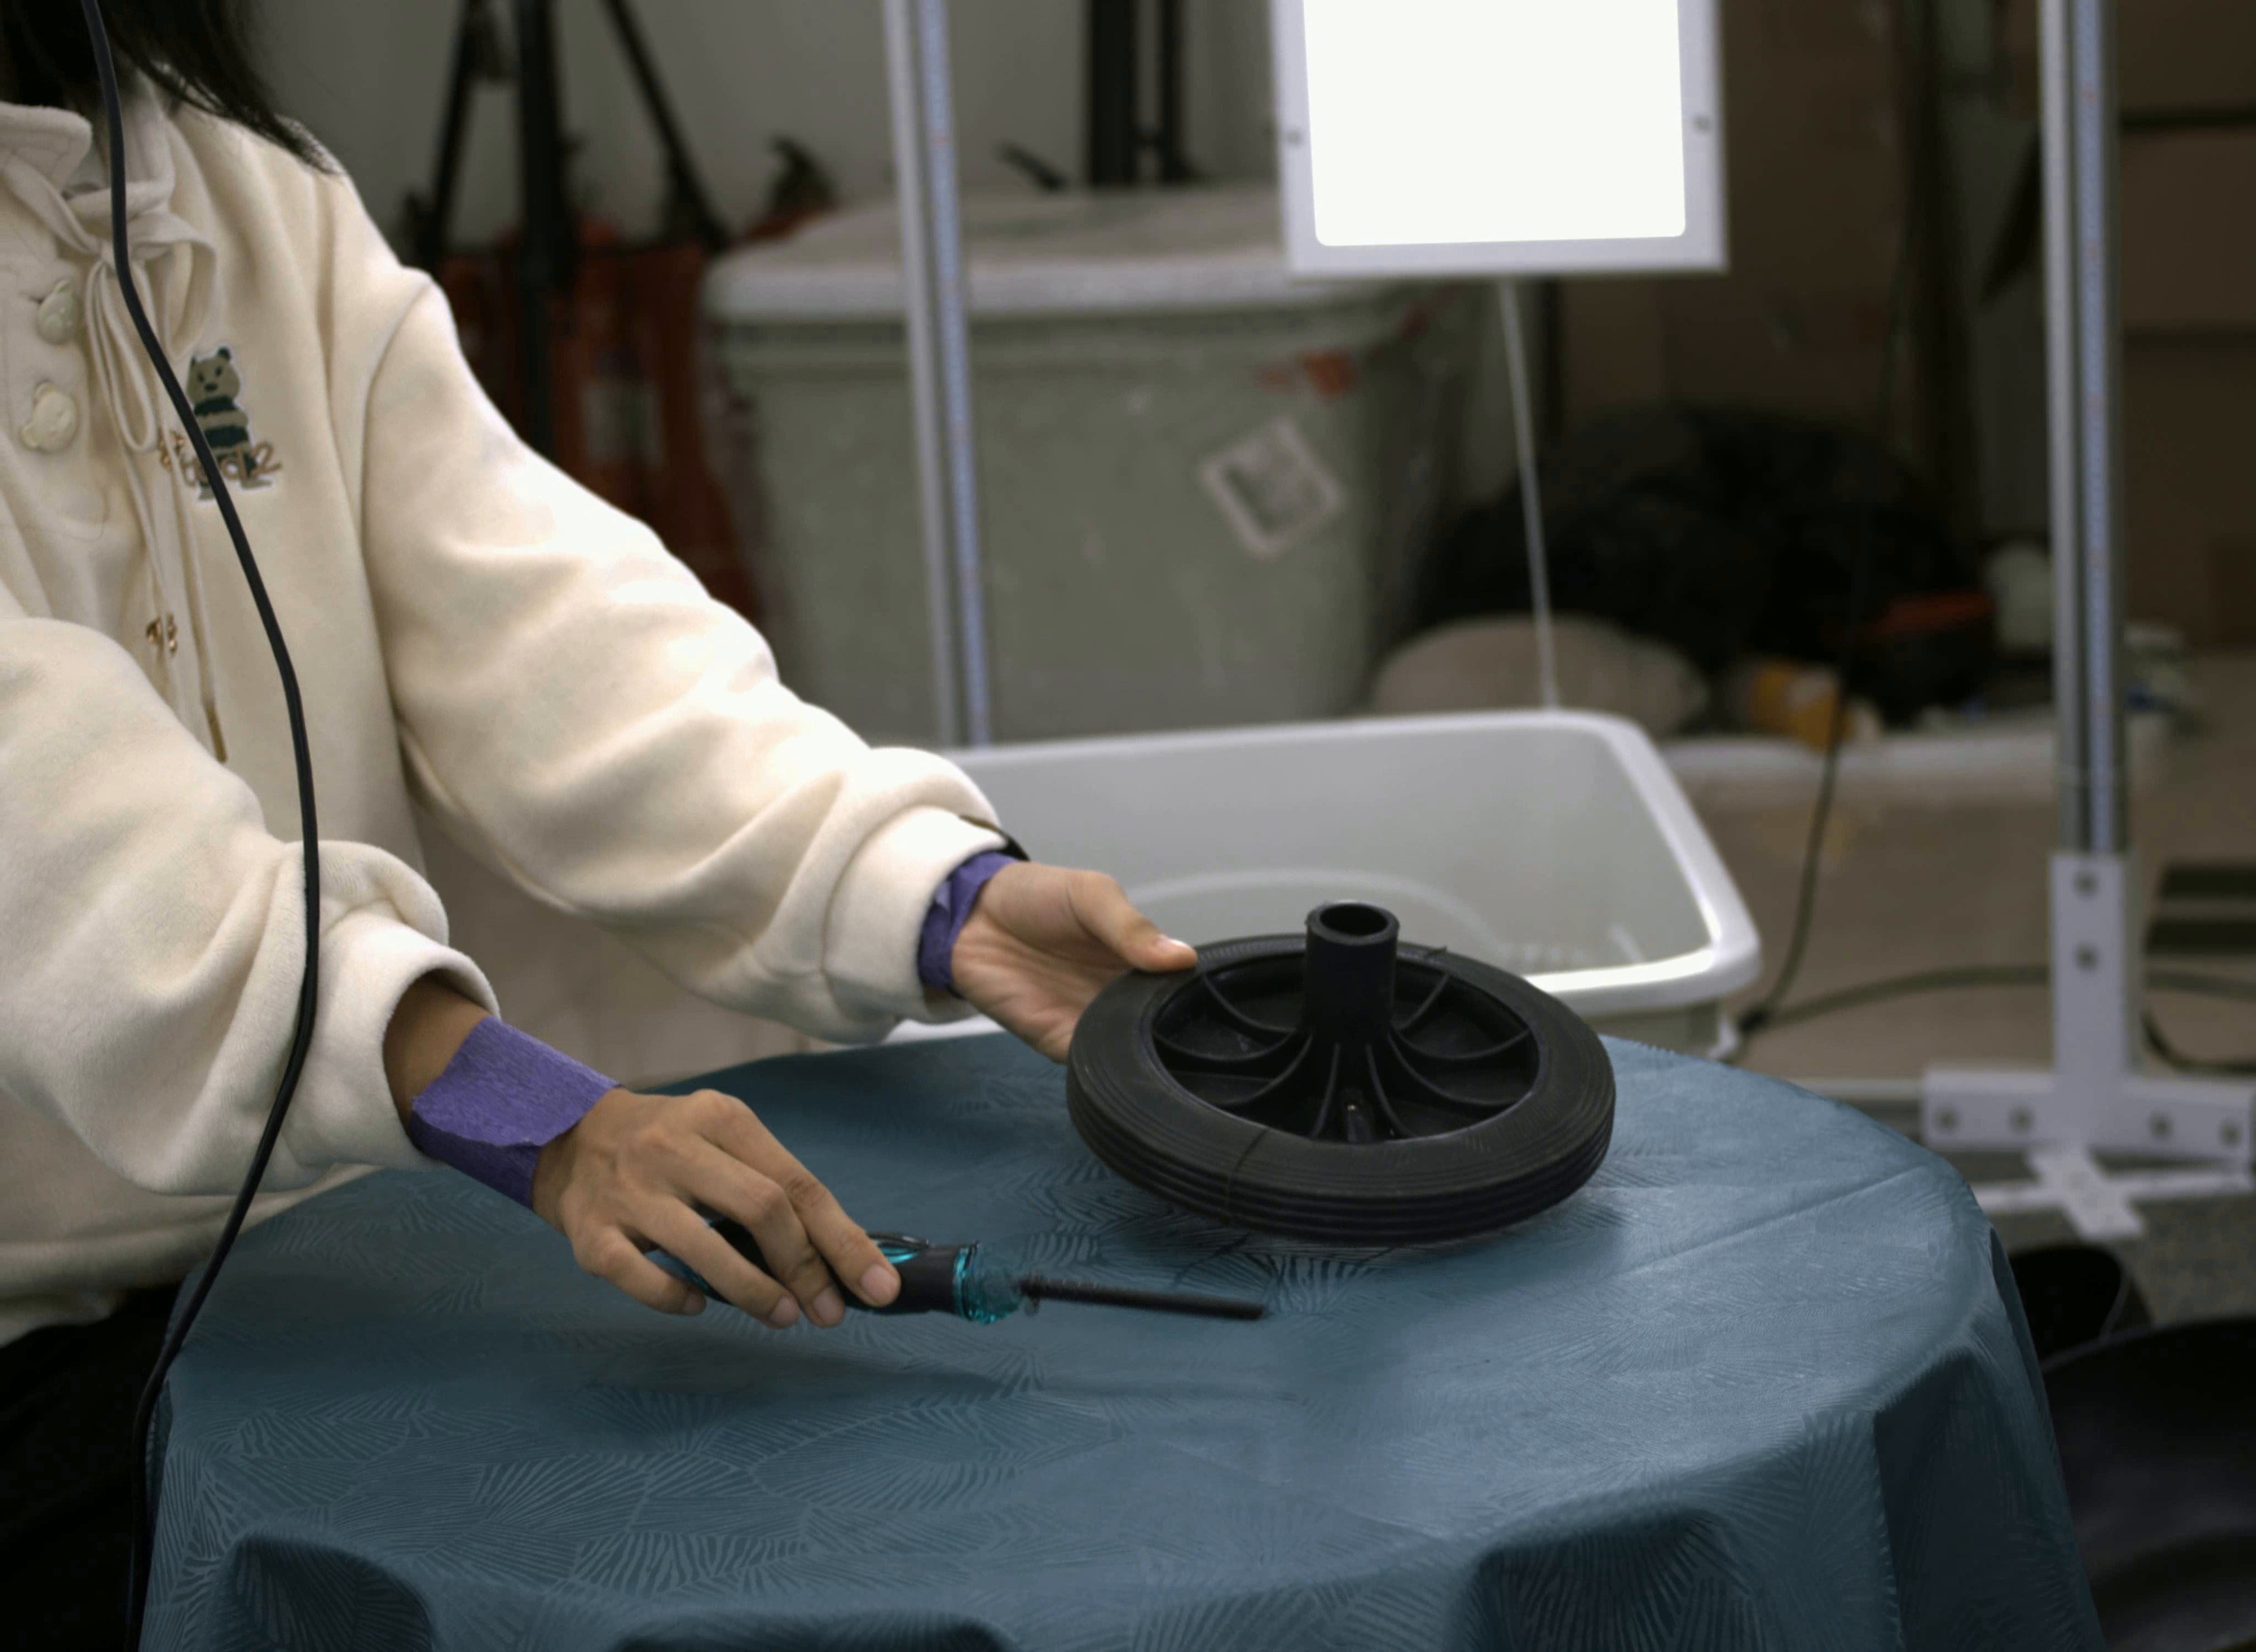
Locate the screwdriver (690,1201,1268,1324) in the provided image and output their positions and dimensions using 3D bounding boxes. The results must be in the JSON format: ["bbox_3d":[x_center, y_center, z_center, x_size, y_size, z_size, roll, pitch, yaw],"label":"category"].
[{"bbox_3d":[-0.047,0.142,1.725,0.192,0.034,0.033,6,16,19],"label":"screwdriver"}]

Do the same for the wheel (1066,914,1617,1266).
[{"bbox_3d":[0.075,0.072,1.866,0.183,0.080,0.192,-12,32,-25],"label":"wheel"}]
